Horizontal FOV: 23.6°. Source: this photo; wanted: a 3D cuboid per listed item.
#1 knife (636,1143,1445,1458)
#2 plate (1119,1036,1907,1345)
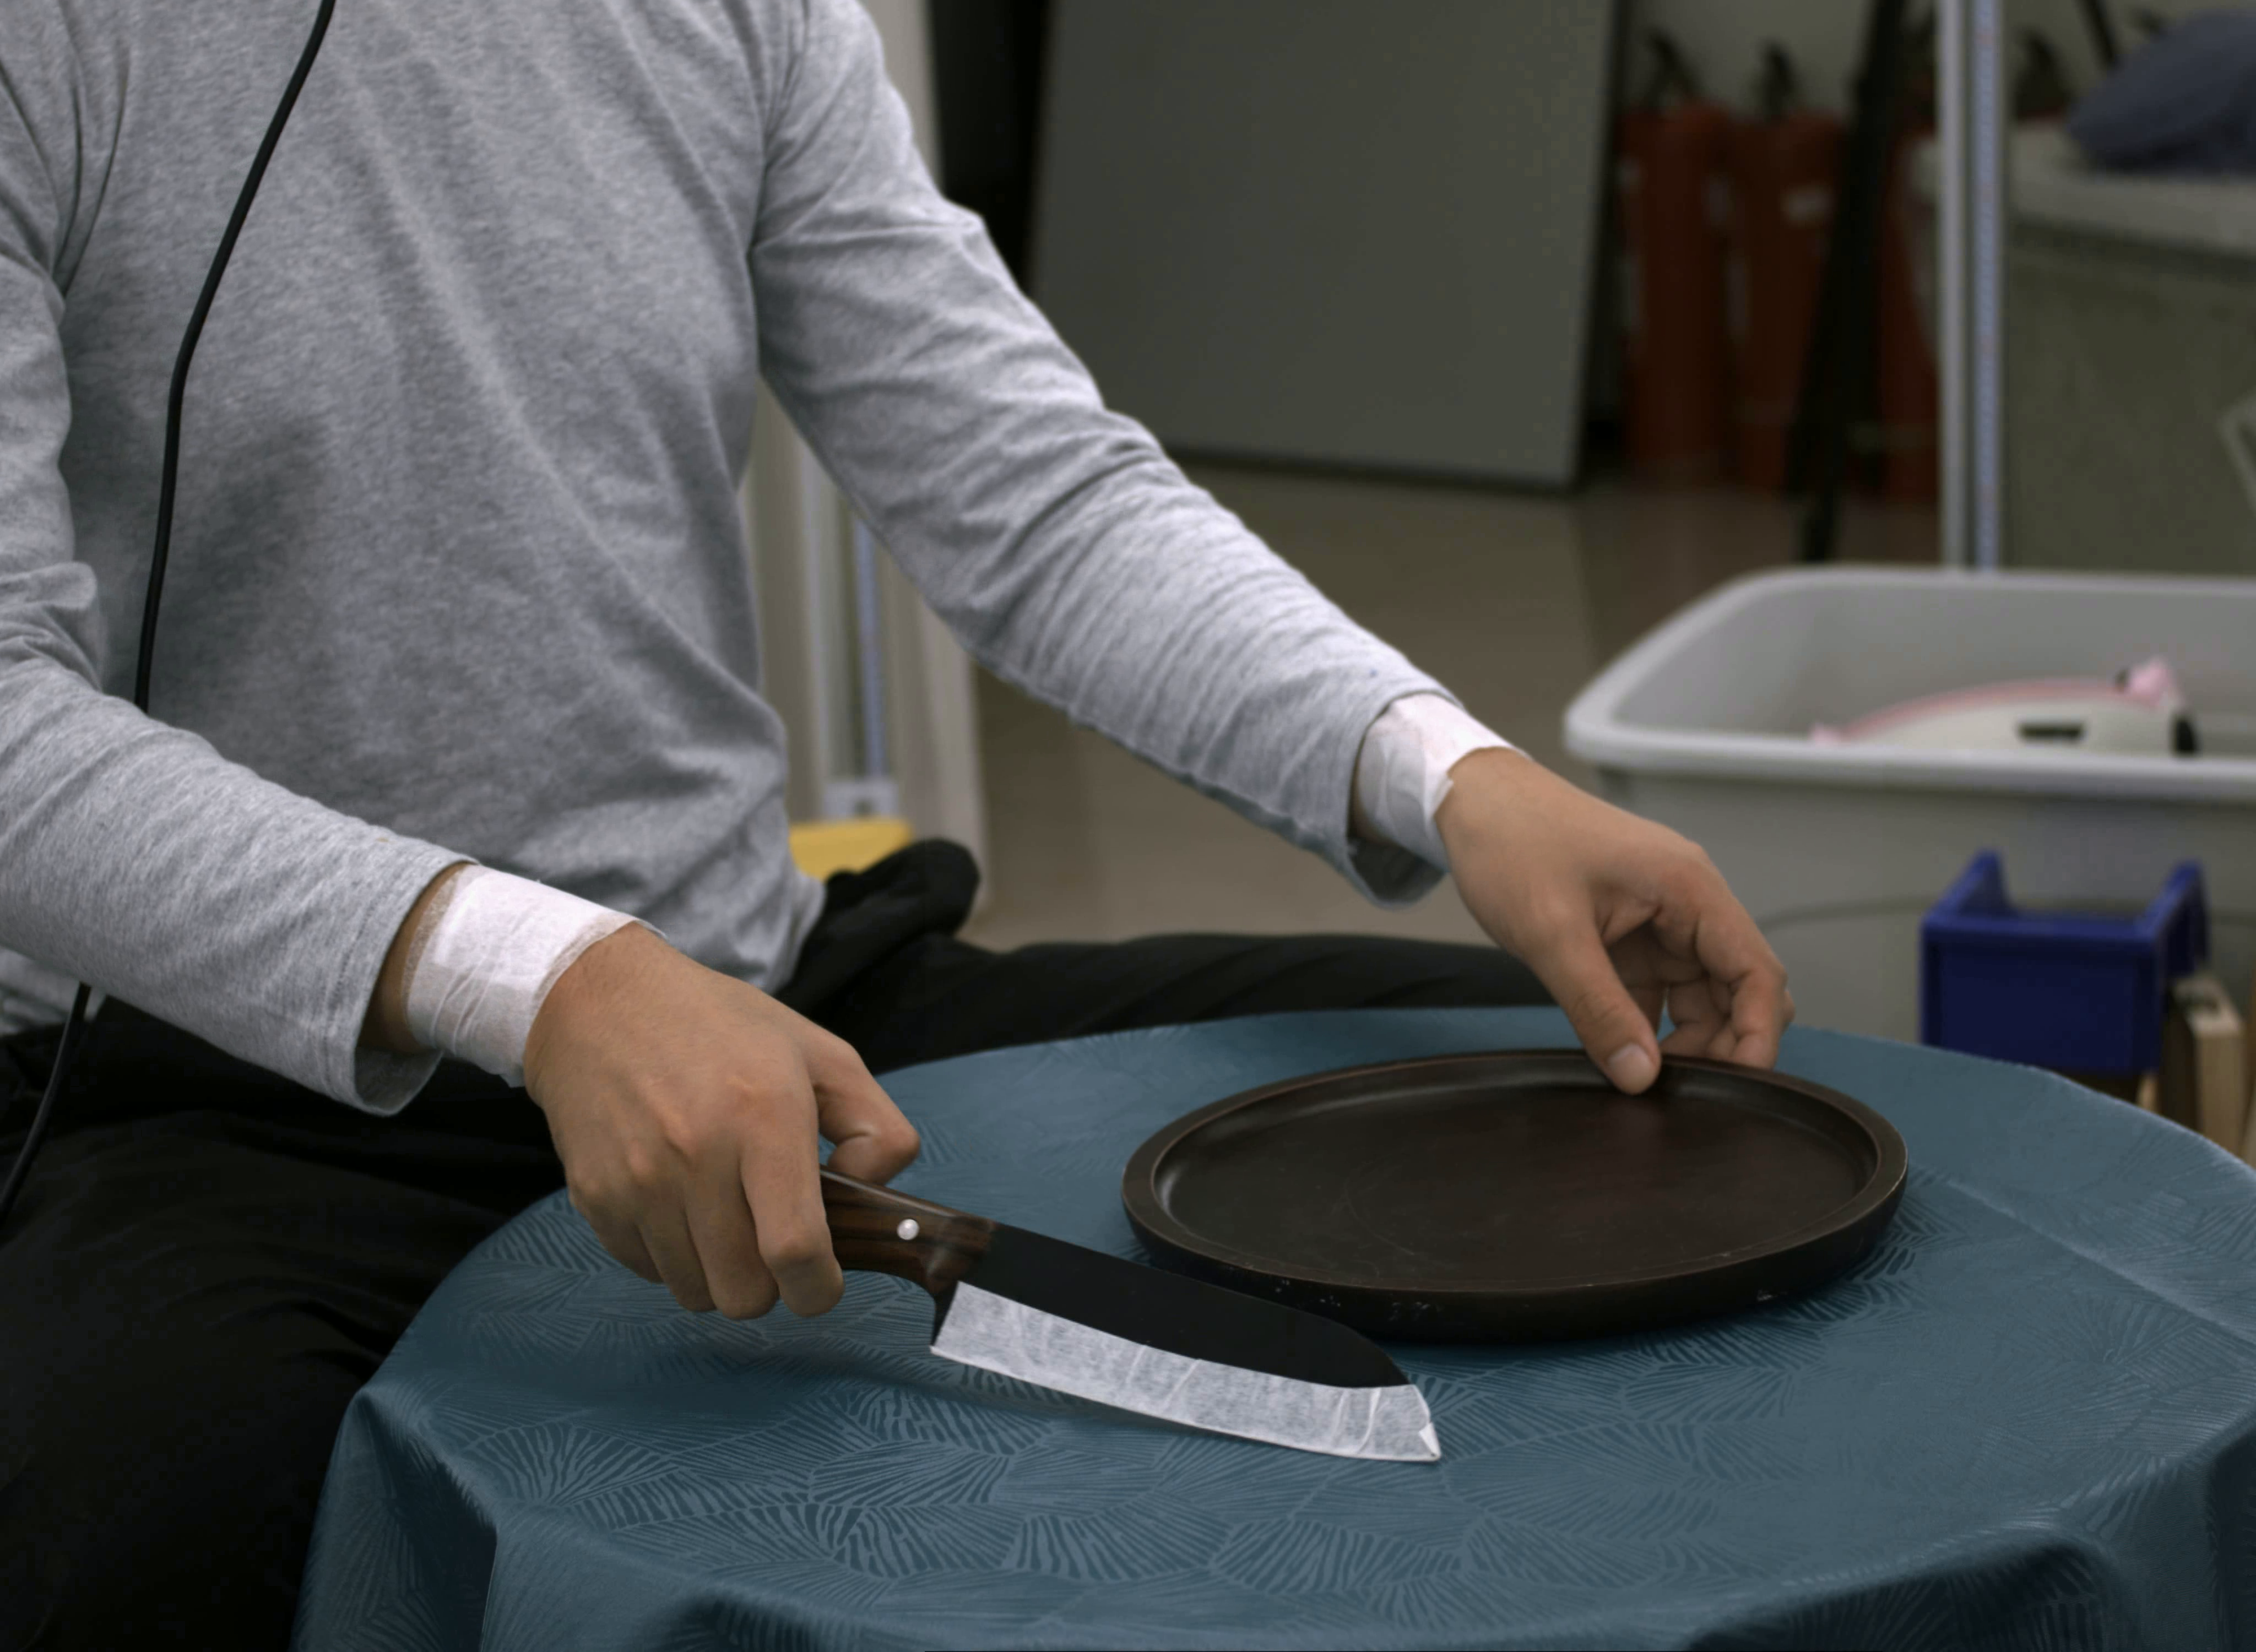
[{"bbox_3d":[-0.030,0.139,1.585,0.290,0.050,0.020,16,-17,31],"label":"knife"},{"bbox_3d":[0.122,0.116,1.709,0.251,0.029,0.255,-6,14,1],"label":"plate"}]
